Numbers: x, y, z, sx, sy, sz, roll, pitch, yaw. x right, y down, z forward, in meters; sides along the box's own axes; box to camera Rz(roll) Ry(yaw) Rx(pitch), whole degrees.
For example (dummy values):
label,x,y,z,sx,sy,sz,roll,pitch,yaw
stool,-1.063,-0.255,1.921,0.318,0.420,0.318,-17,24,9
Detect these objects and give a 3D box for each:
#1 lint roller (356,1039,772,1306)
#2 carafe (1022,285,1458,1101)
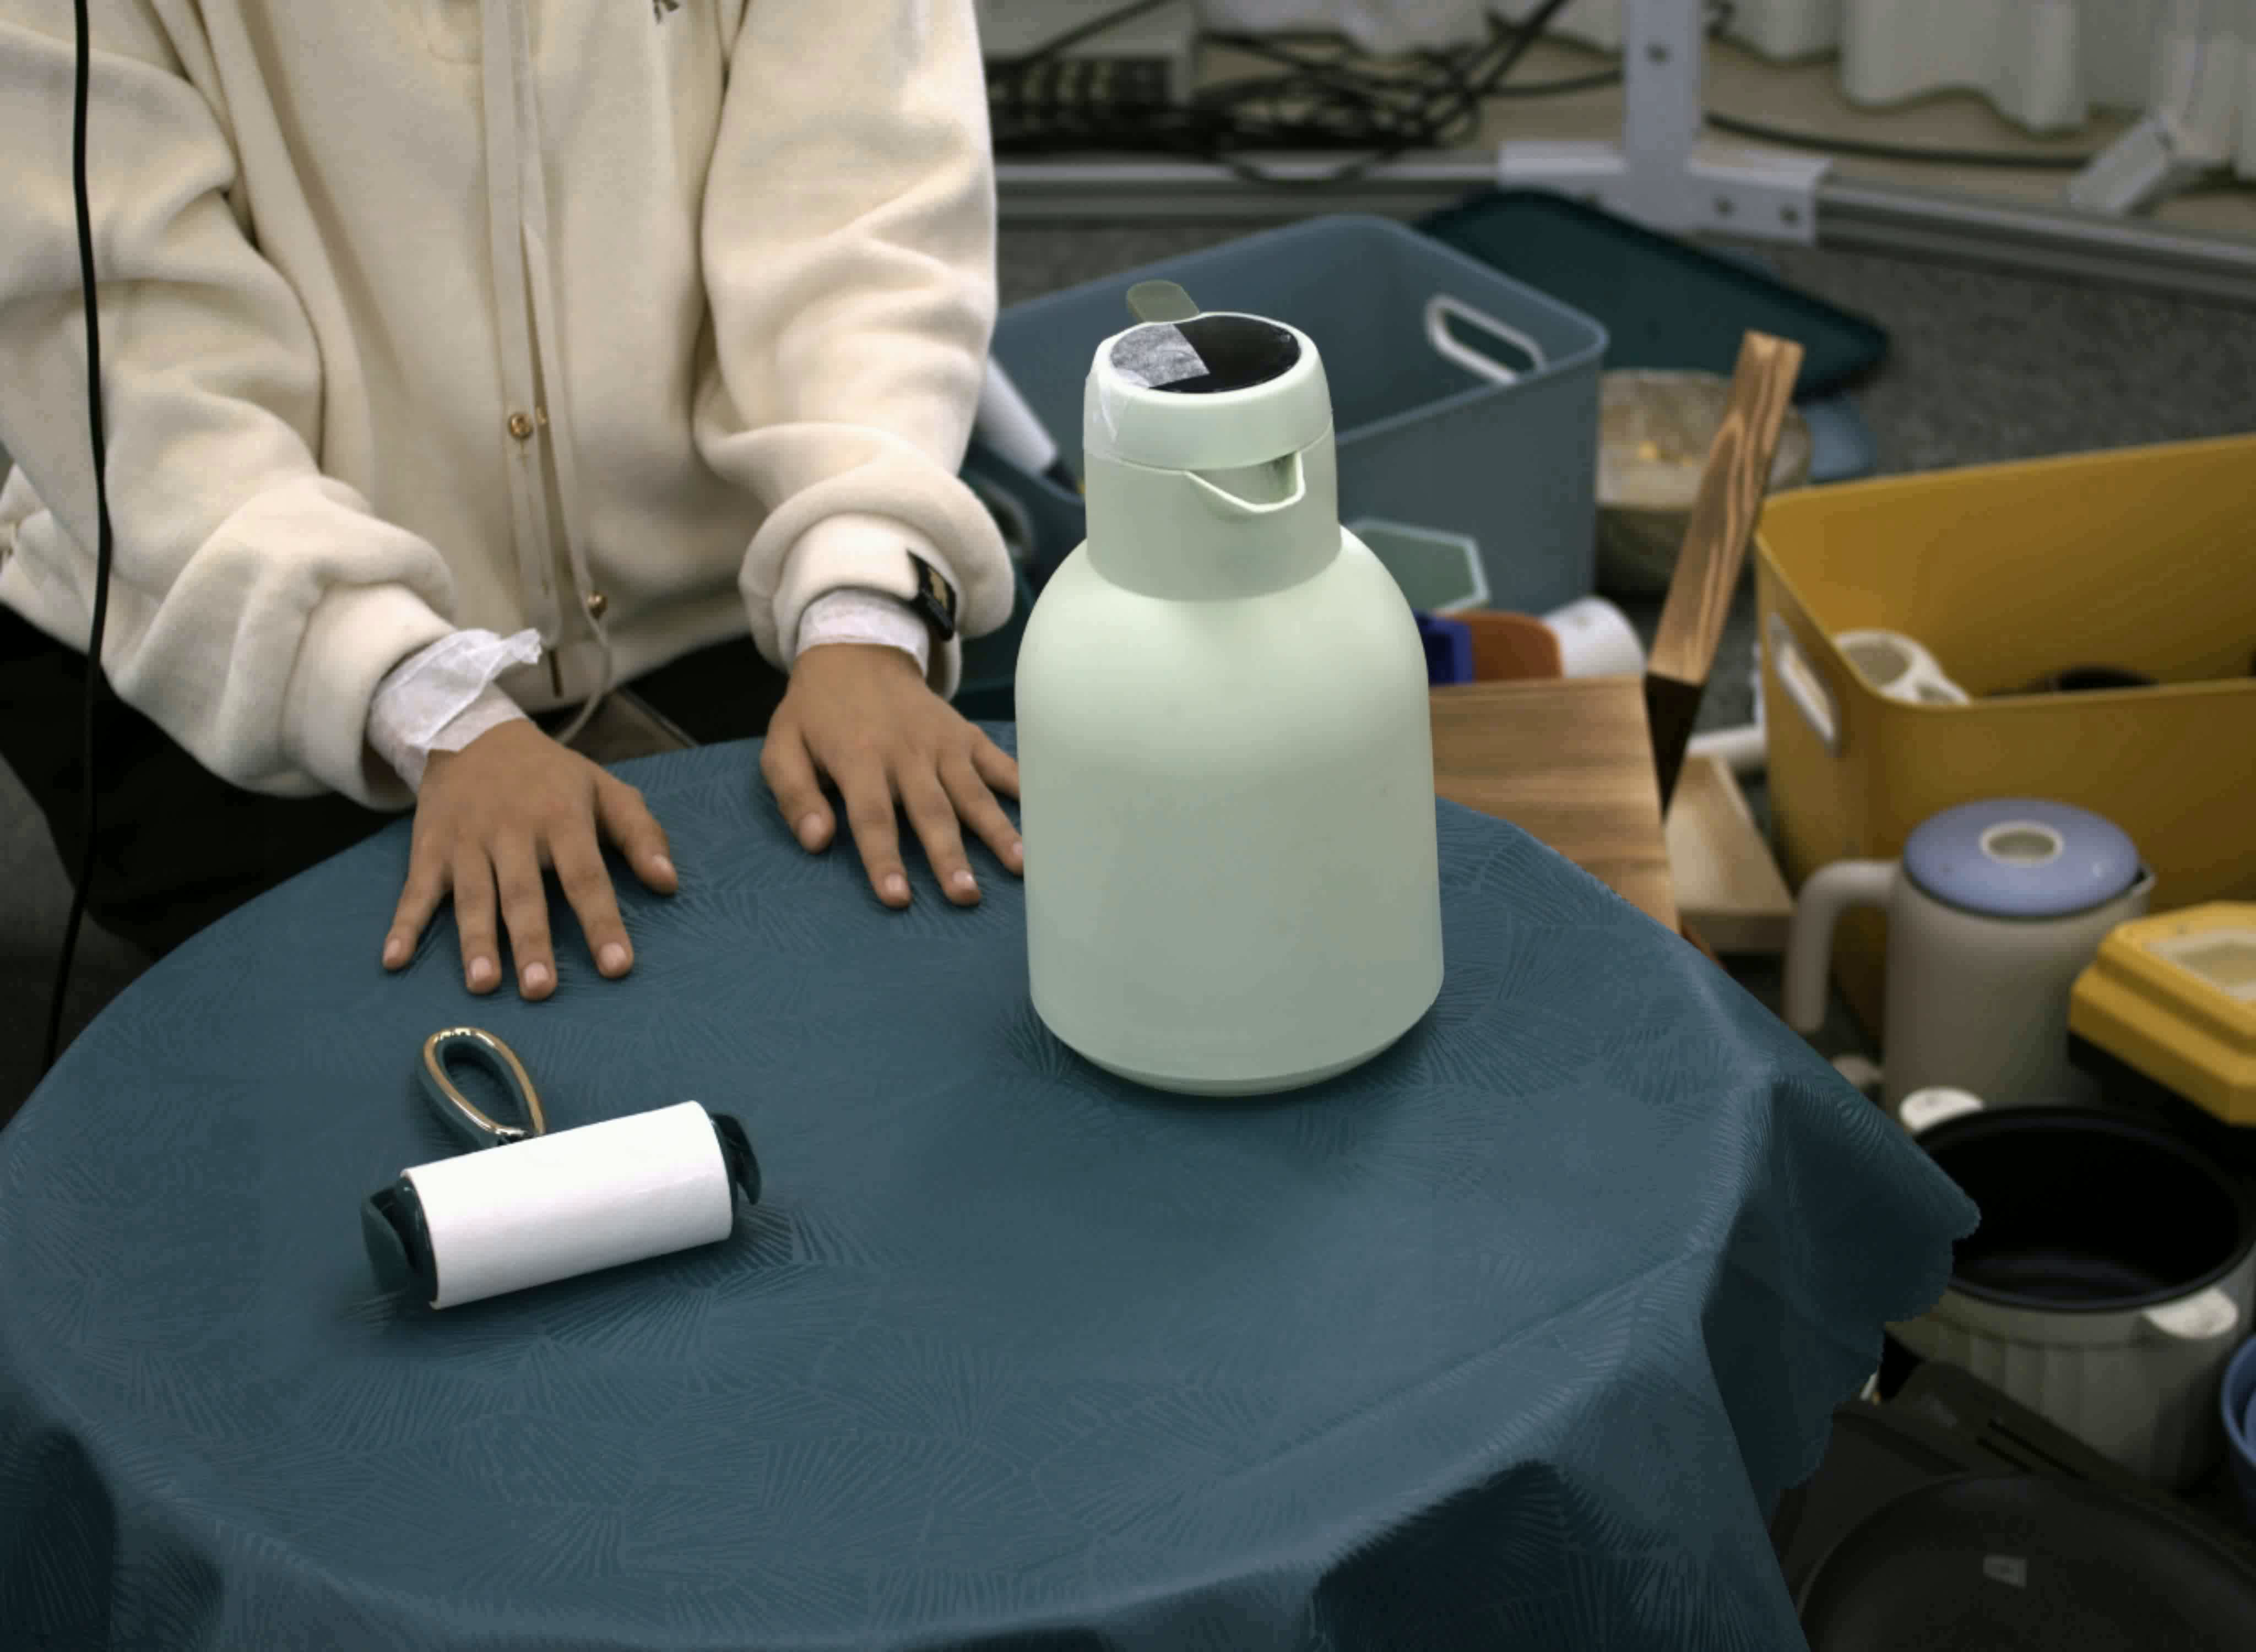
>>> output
label,x,y,z,sx,sy,sz,roll,pitch,yaw
lint roller,-0.207,0.095,1.881,0.134,0.048,0.181,-12,28,-18
carafe,0.030,-0.051,1.925,0.144,0.254,0.188,-12,24,-13
